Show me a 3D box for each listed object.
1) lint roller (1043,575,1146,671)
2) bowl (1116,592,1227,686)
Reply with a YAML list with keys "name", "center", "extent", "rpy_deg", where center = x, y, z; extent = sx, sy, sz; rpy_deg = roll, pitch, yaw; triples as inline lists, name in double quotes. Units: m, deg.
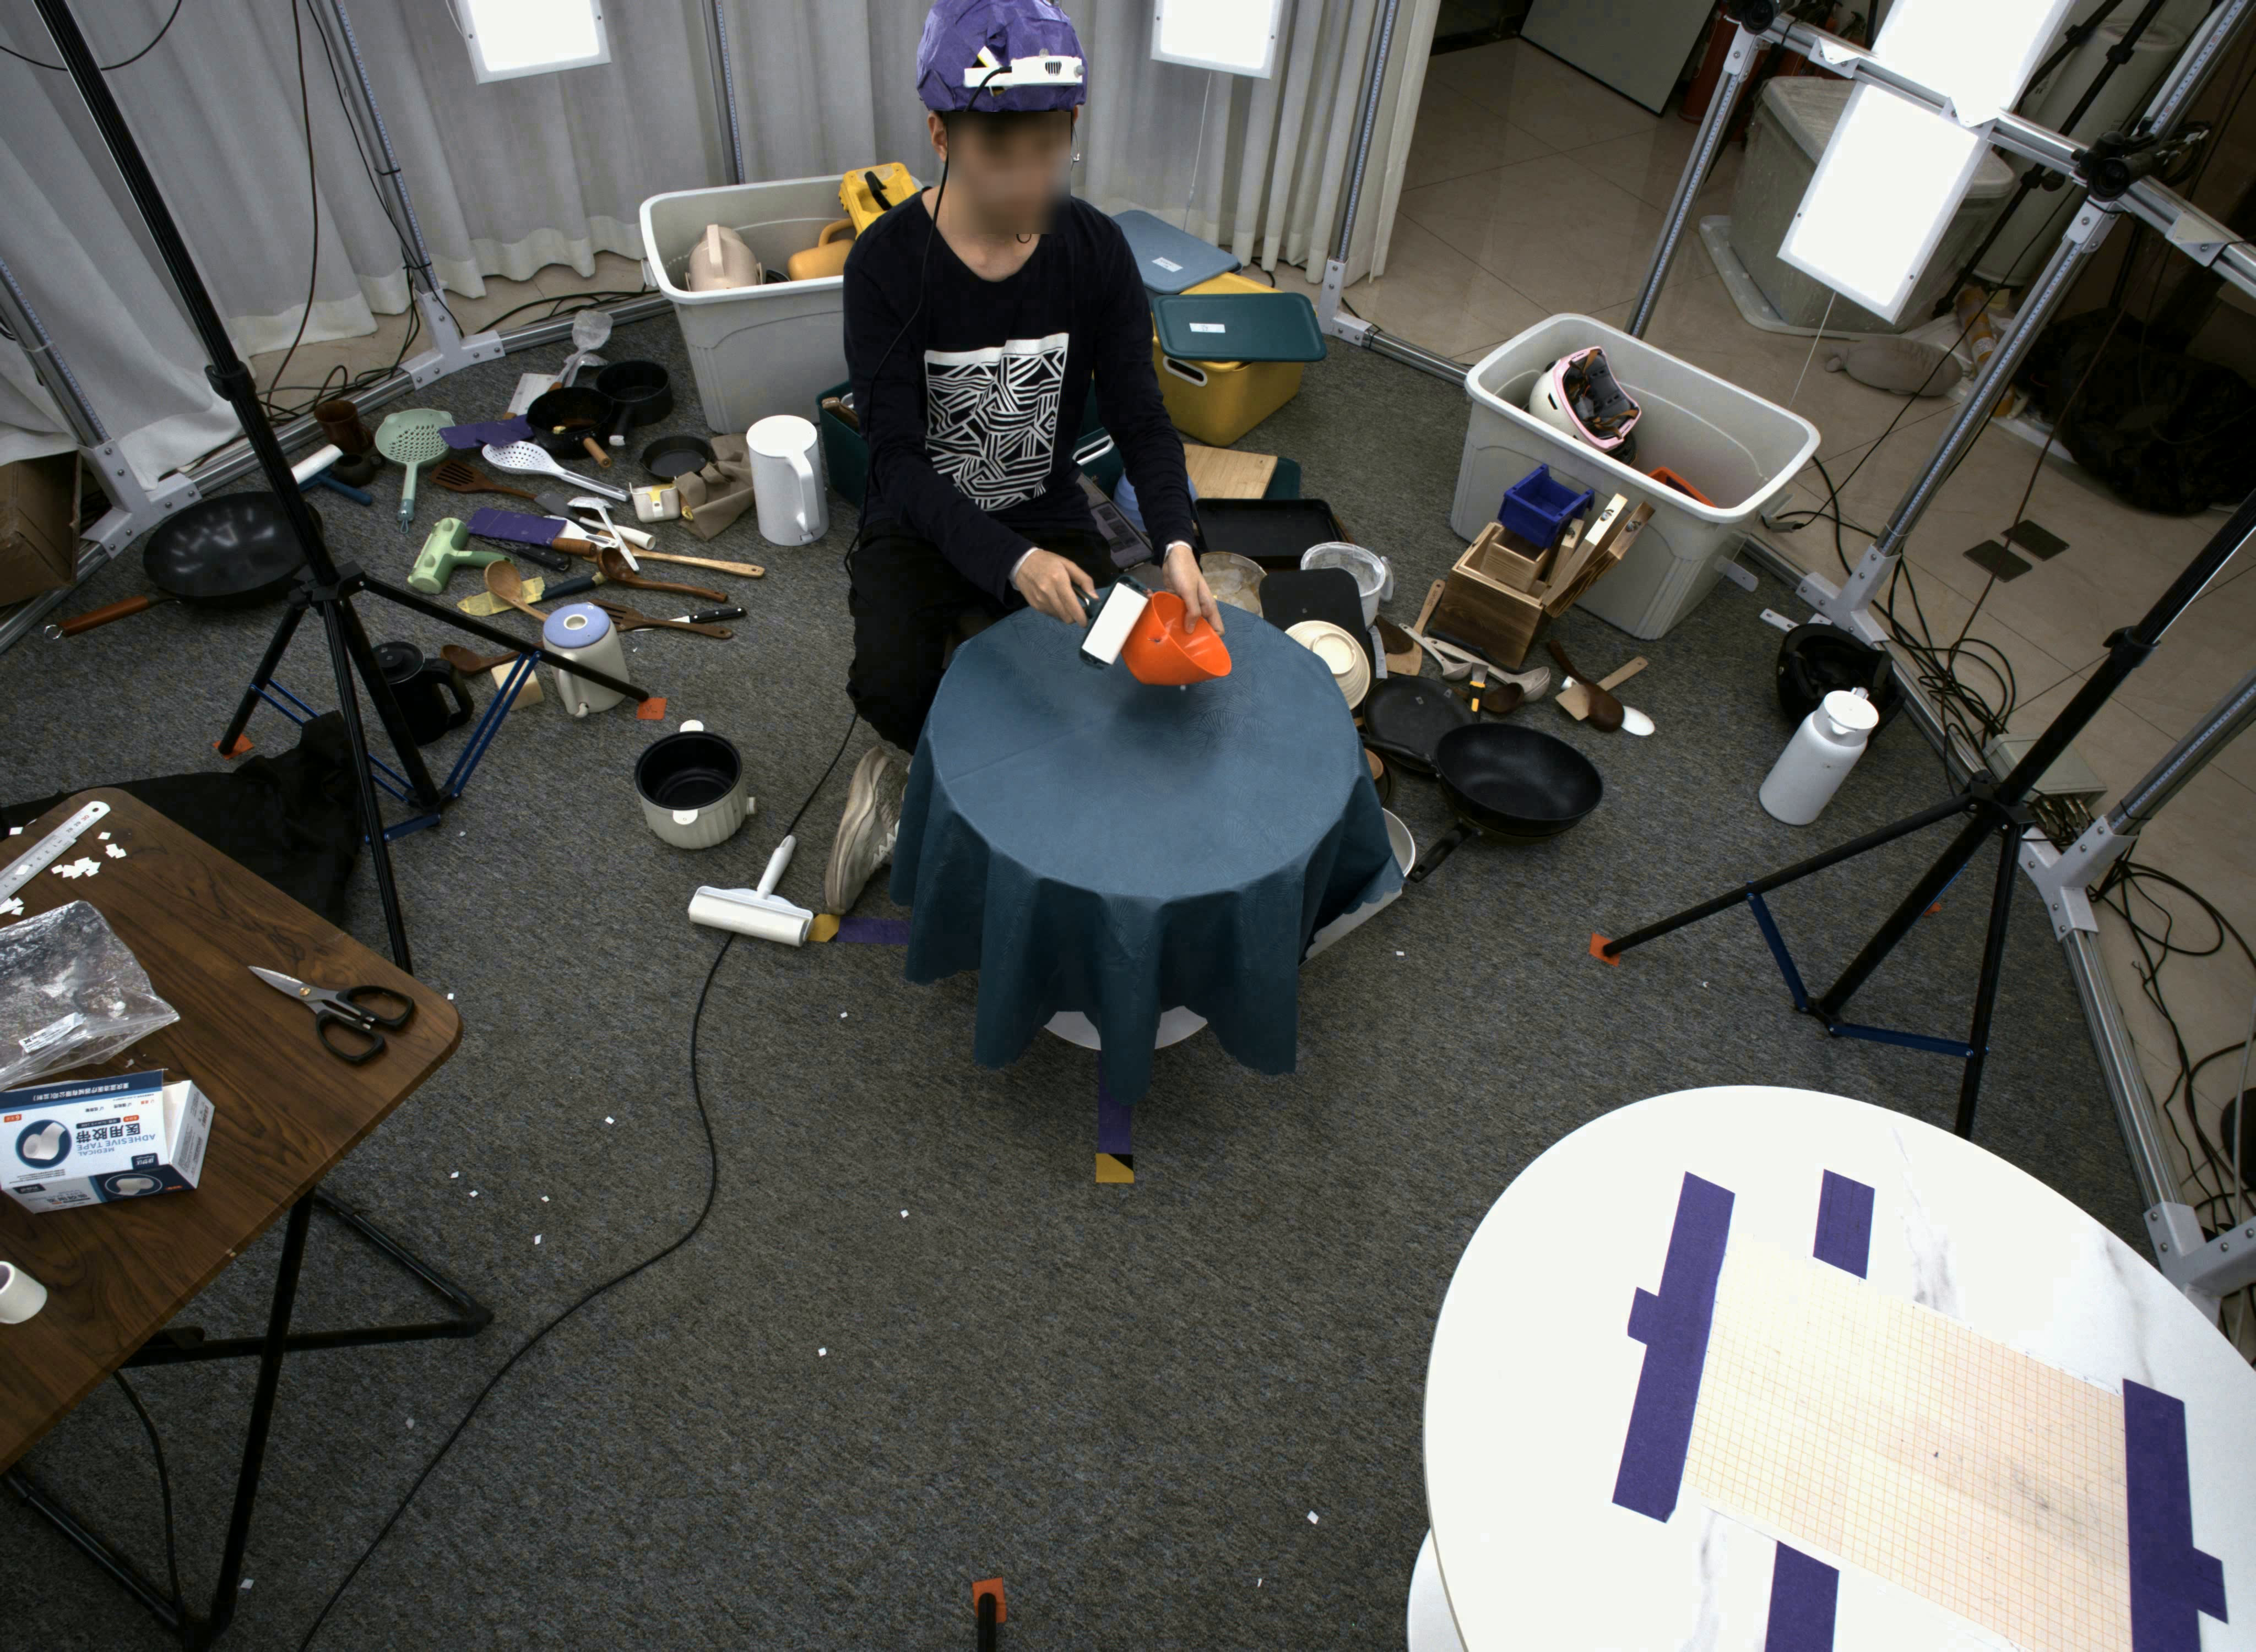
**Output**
- name: "lint roller"
  center: [-0.066, -0.300, 1.743]
  extent: [0.183, 0.048, 0.134]
  rpy_deg: [35, 98, 34]
- name: "bowl"
  center: [0.051, -0.241, 1.763]
  extent: [0.104, 0.145, 0.152]
  rpy_deg: [-34, 48, 21]
